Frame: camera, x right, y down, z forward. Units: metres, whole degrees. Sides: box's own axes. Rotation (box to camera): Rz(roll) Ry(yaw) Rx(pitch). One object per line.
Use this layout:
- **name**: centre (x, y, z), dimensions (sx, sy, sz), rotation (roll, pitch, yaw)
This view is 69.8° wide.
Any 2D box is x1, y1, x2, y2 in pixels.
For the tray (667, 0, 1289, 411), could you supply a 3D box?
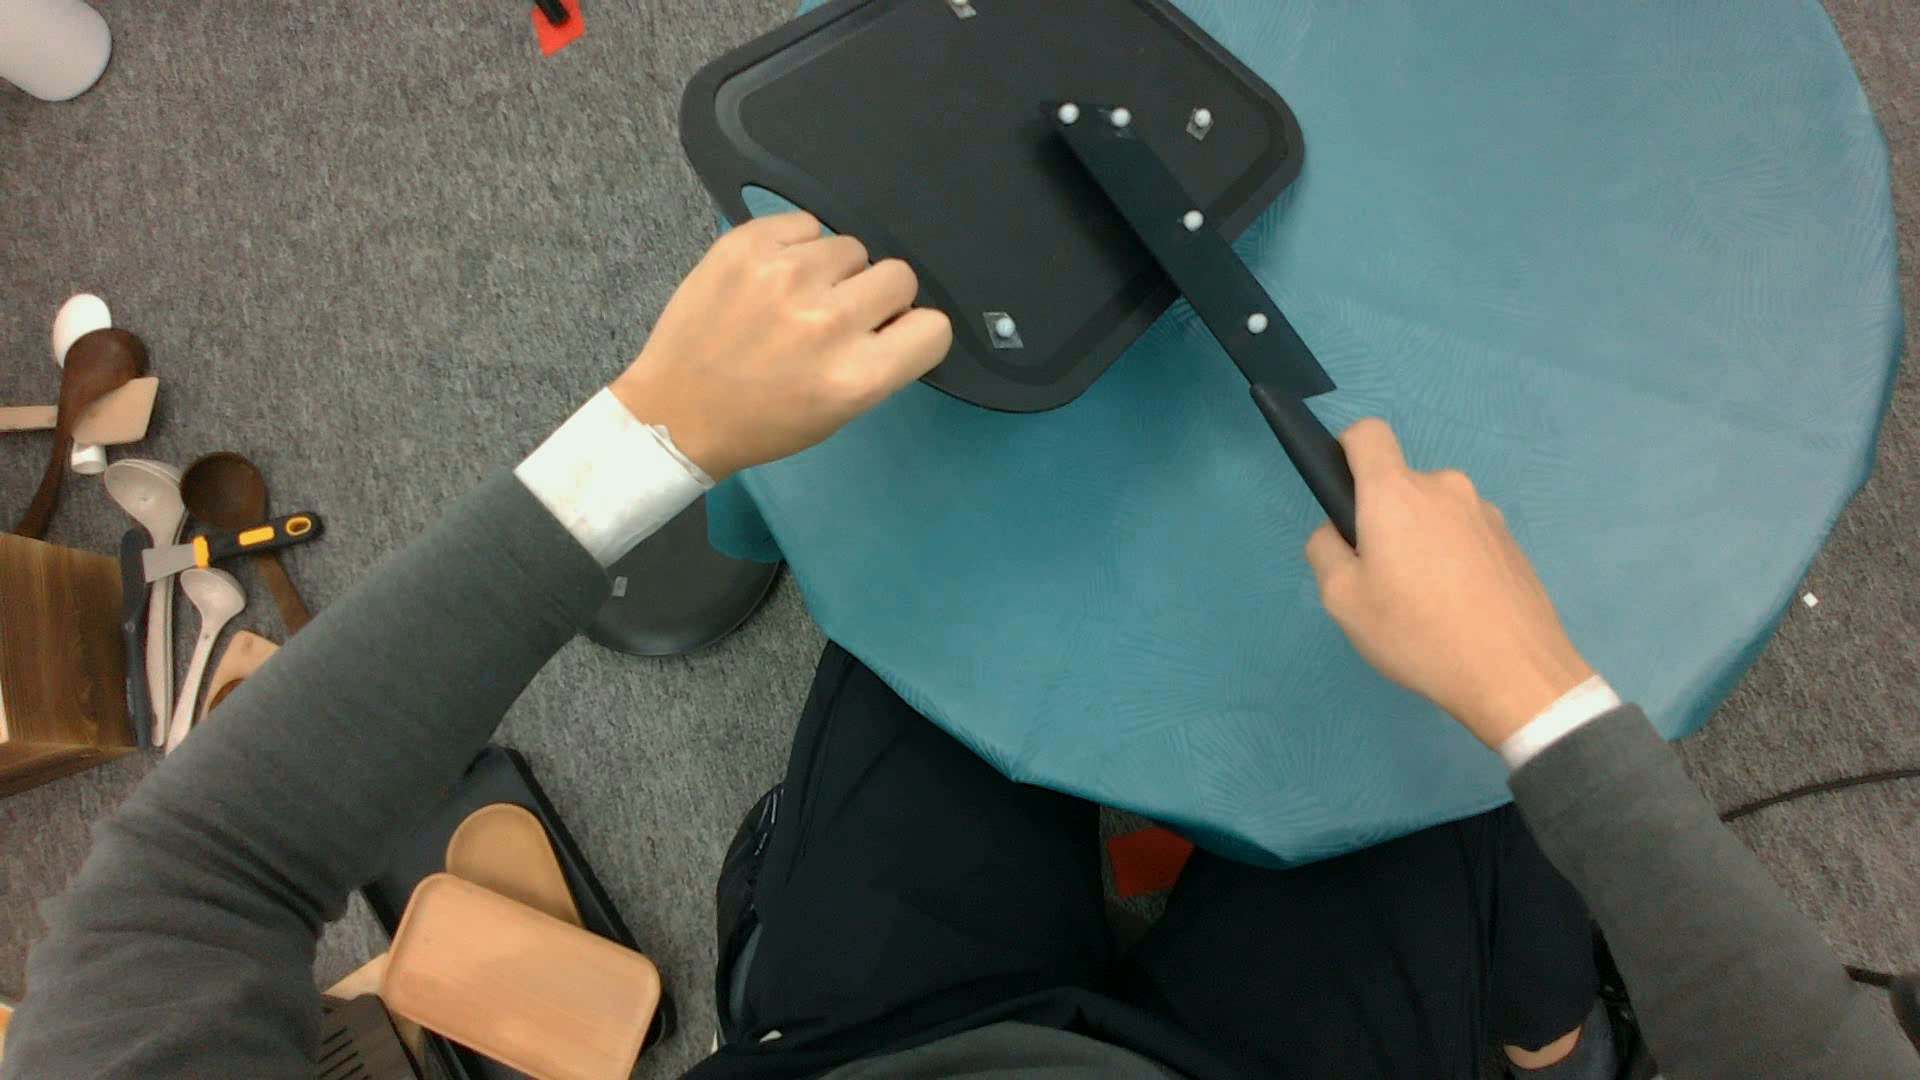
- **tray**: centre (0.022, -0.186, 0.639), dimensions (0.211, 0.010, 0.327), rotation (41, 52, 5)

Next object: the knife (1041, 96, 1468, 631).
- **knife**: centre (0.130, -0.089, 0.614), dimensions (0.021, 0.081, 0.303), rotation (-45, 64, 37)
